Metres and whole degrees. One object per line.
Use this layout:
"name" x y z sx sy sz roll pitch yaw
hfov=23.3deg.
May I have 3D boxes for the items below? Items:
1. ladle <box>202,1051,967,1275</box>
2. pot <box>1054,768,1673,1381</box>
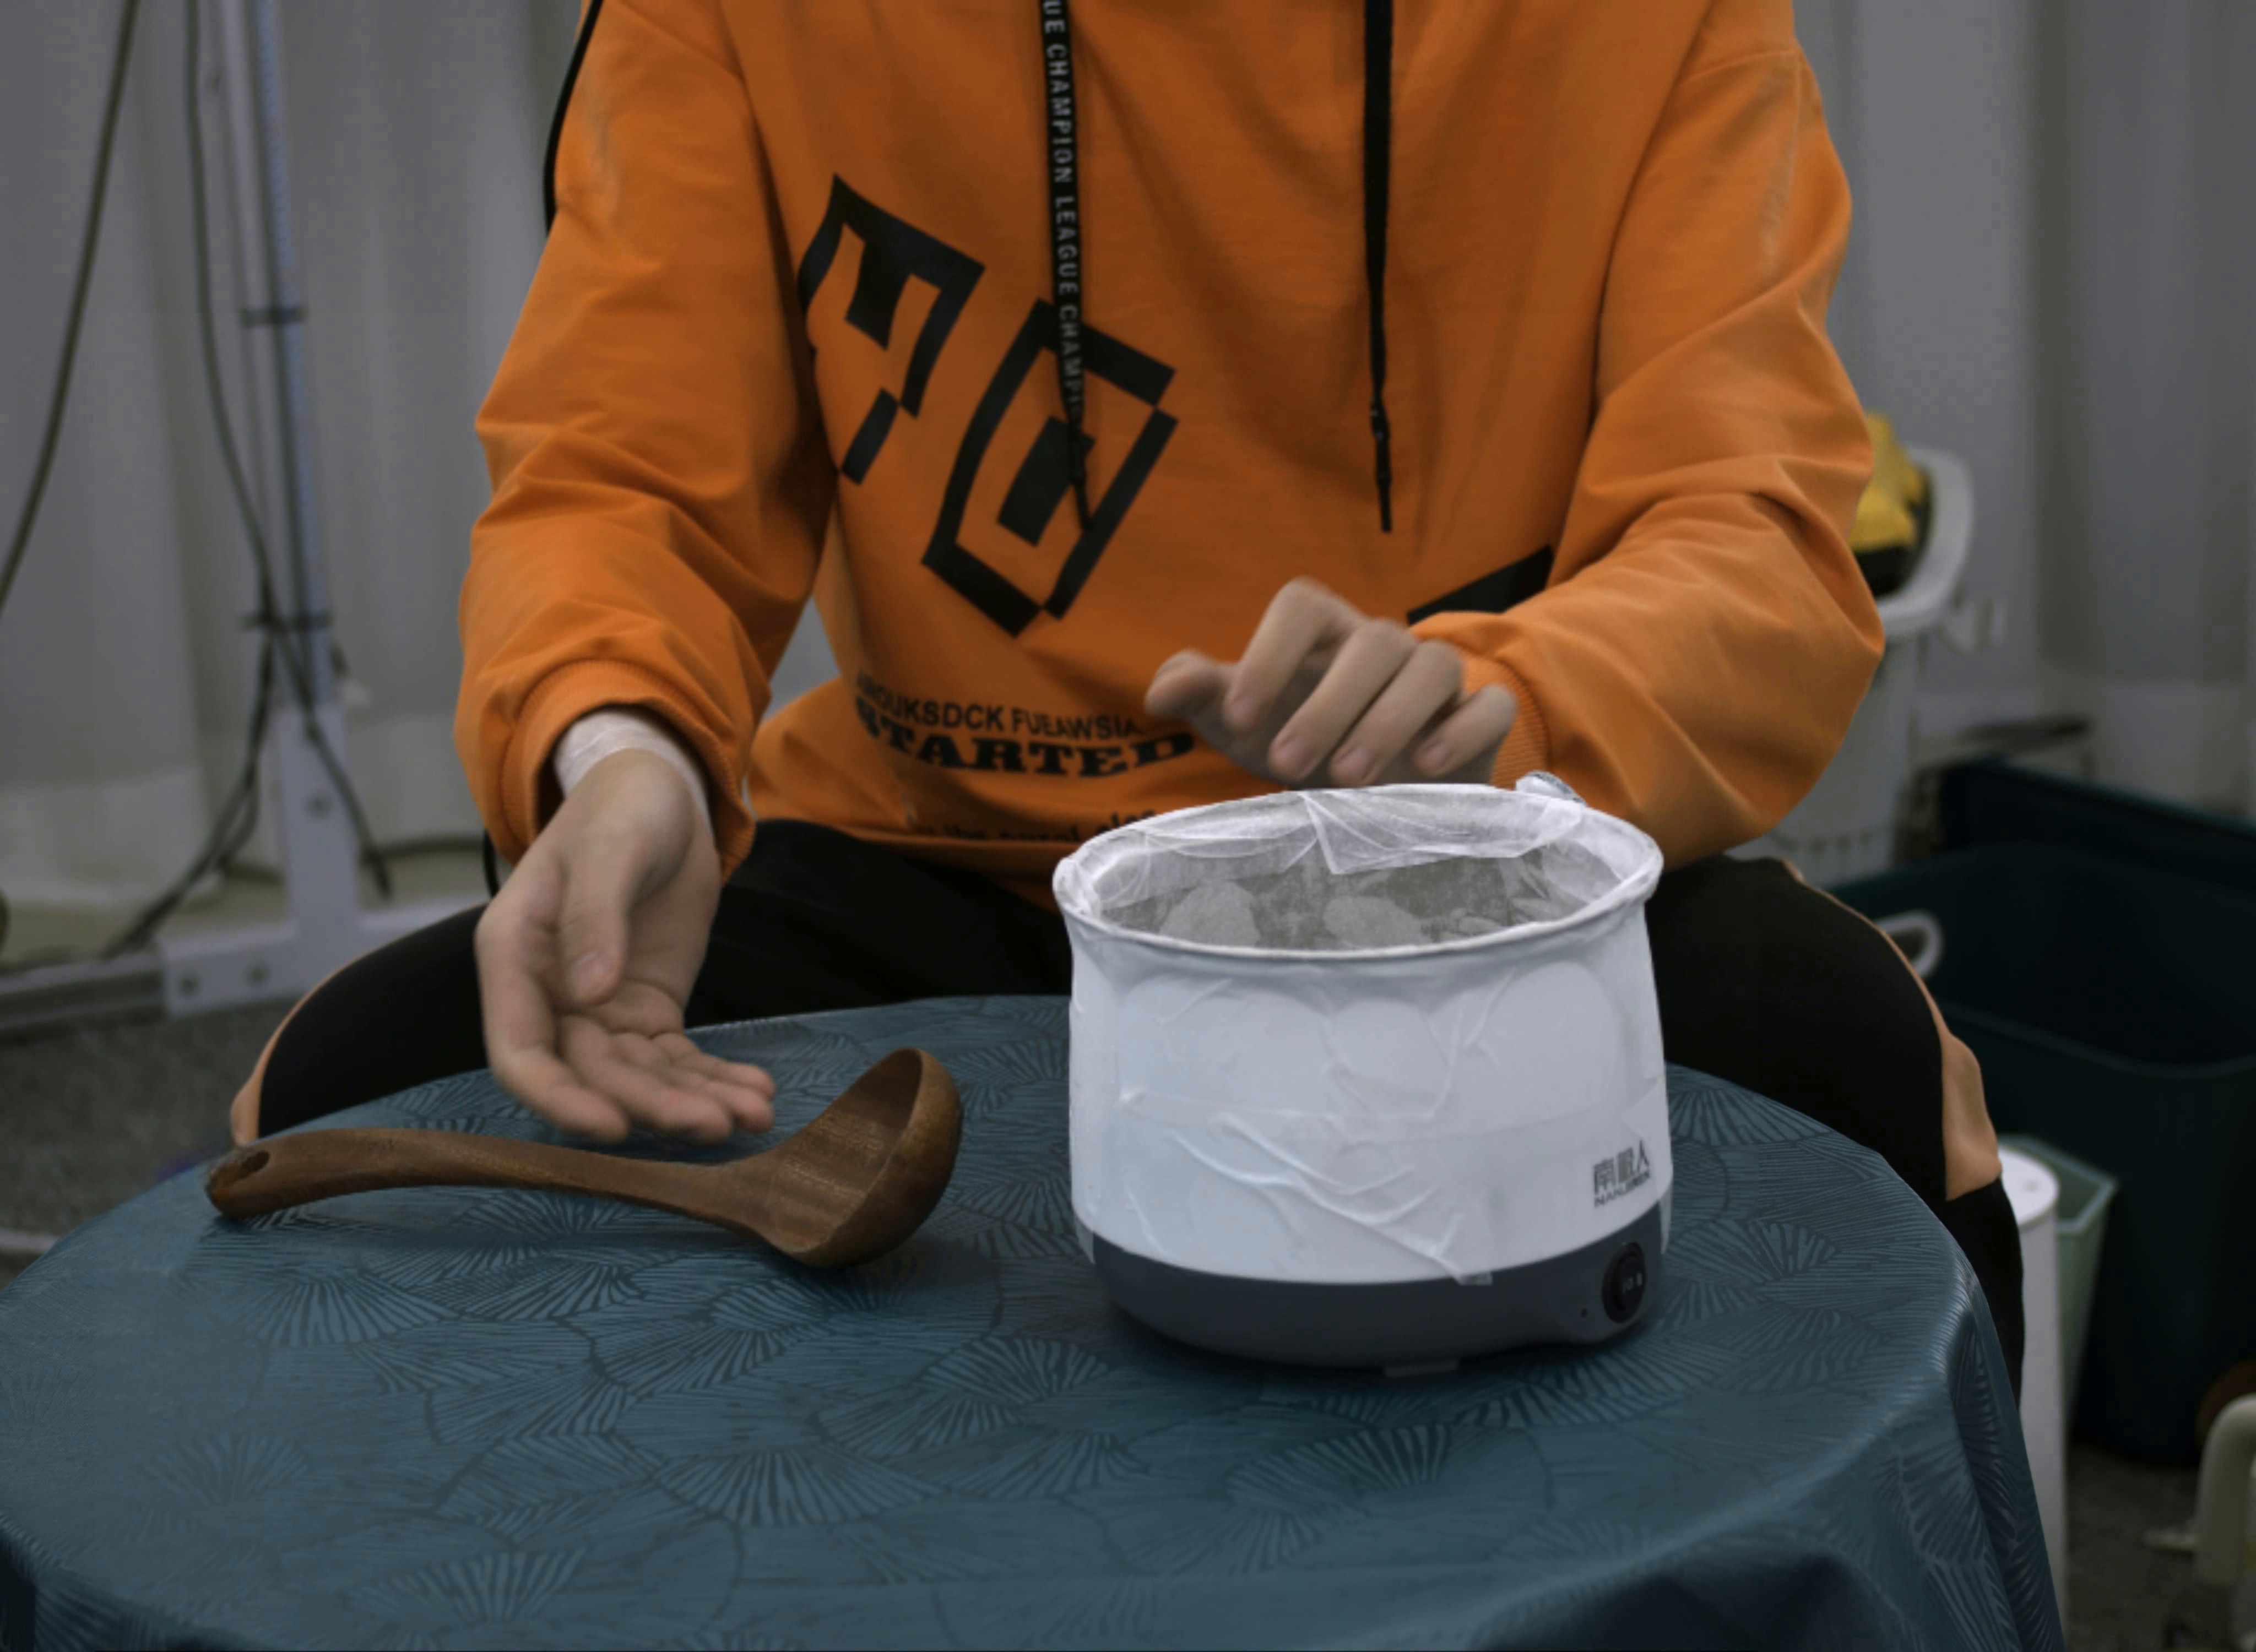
"ladle" -0.172 0.100 1.687 0.260 0.064 0.077 2 40 17
"pot" 0.085 0.066 1.617 0.179 0.136 0.234 8 18 34
